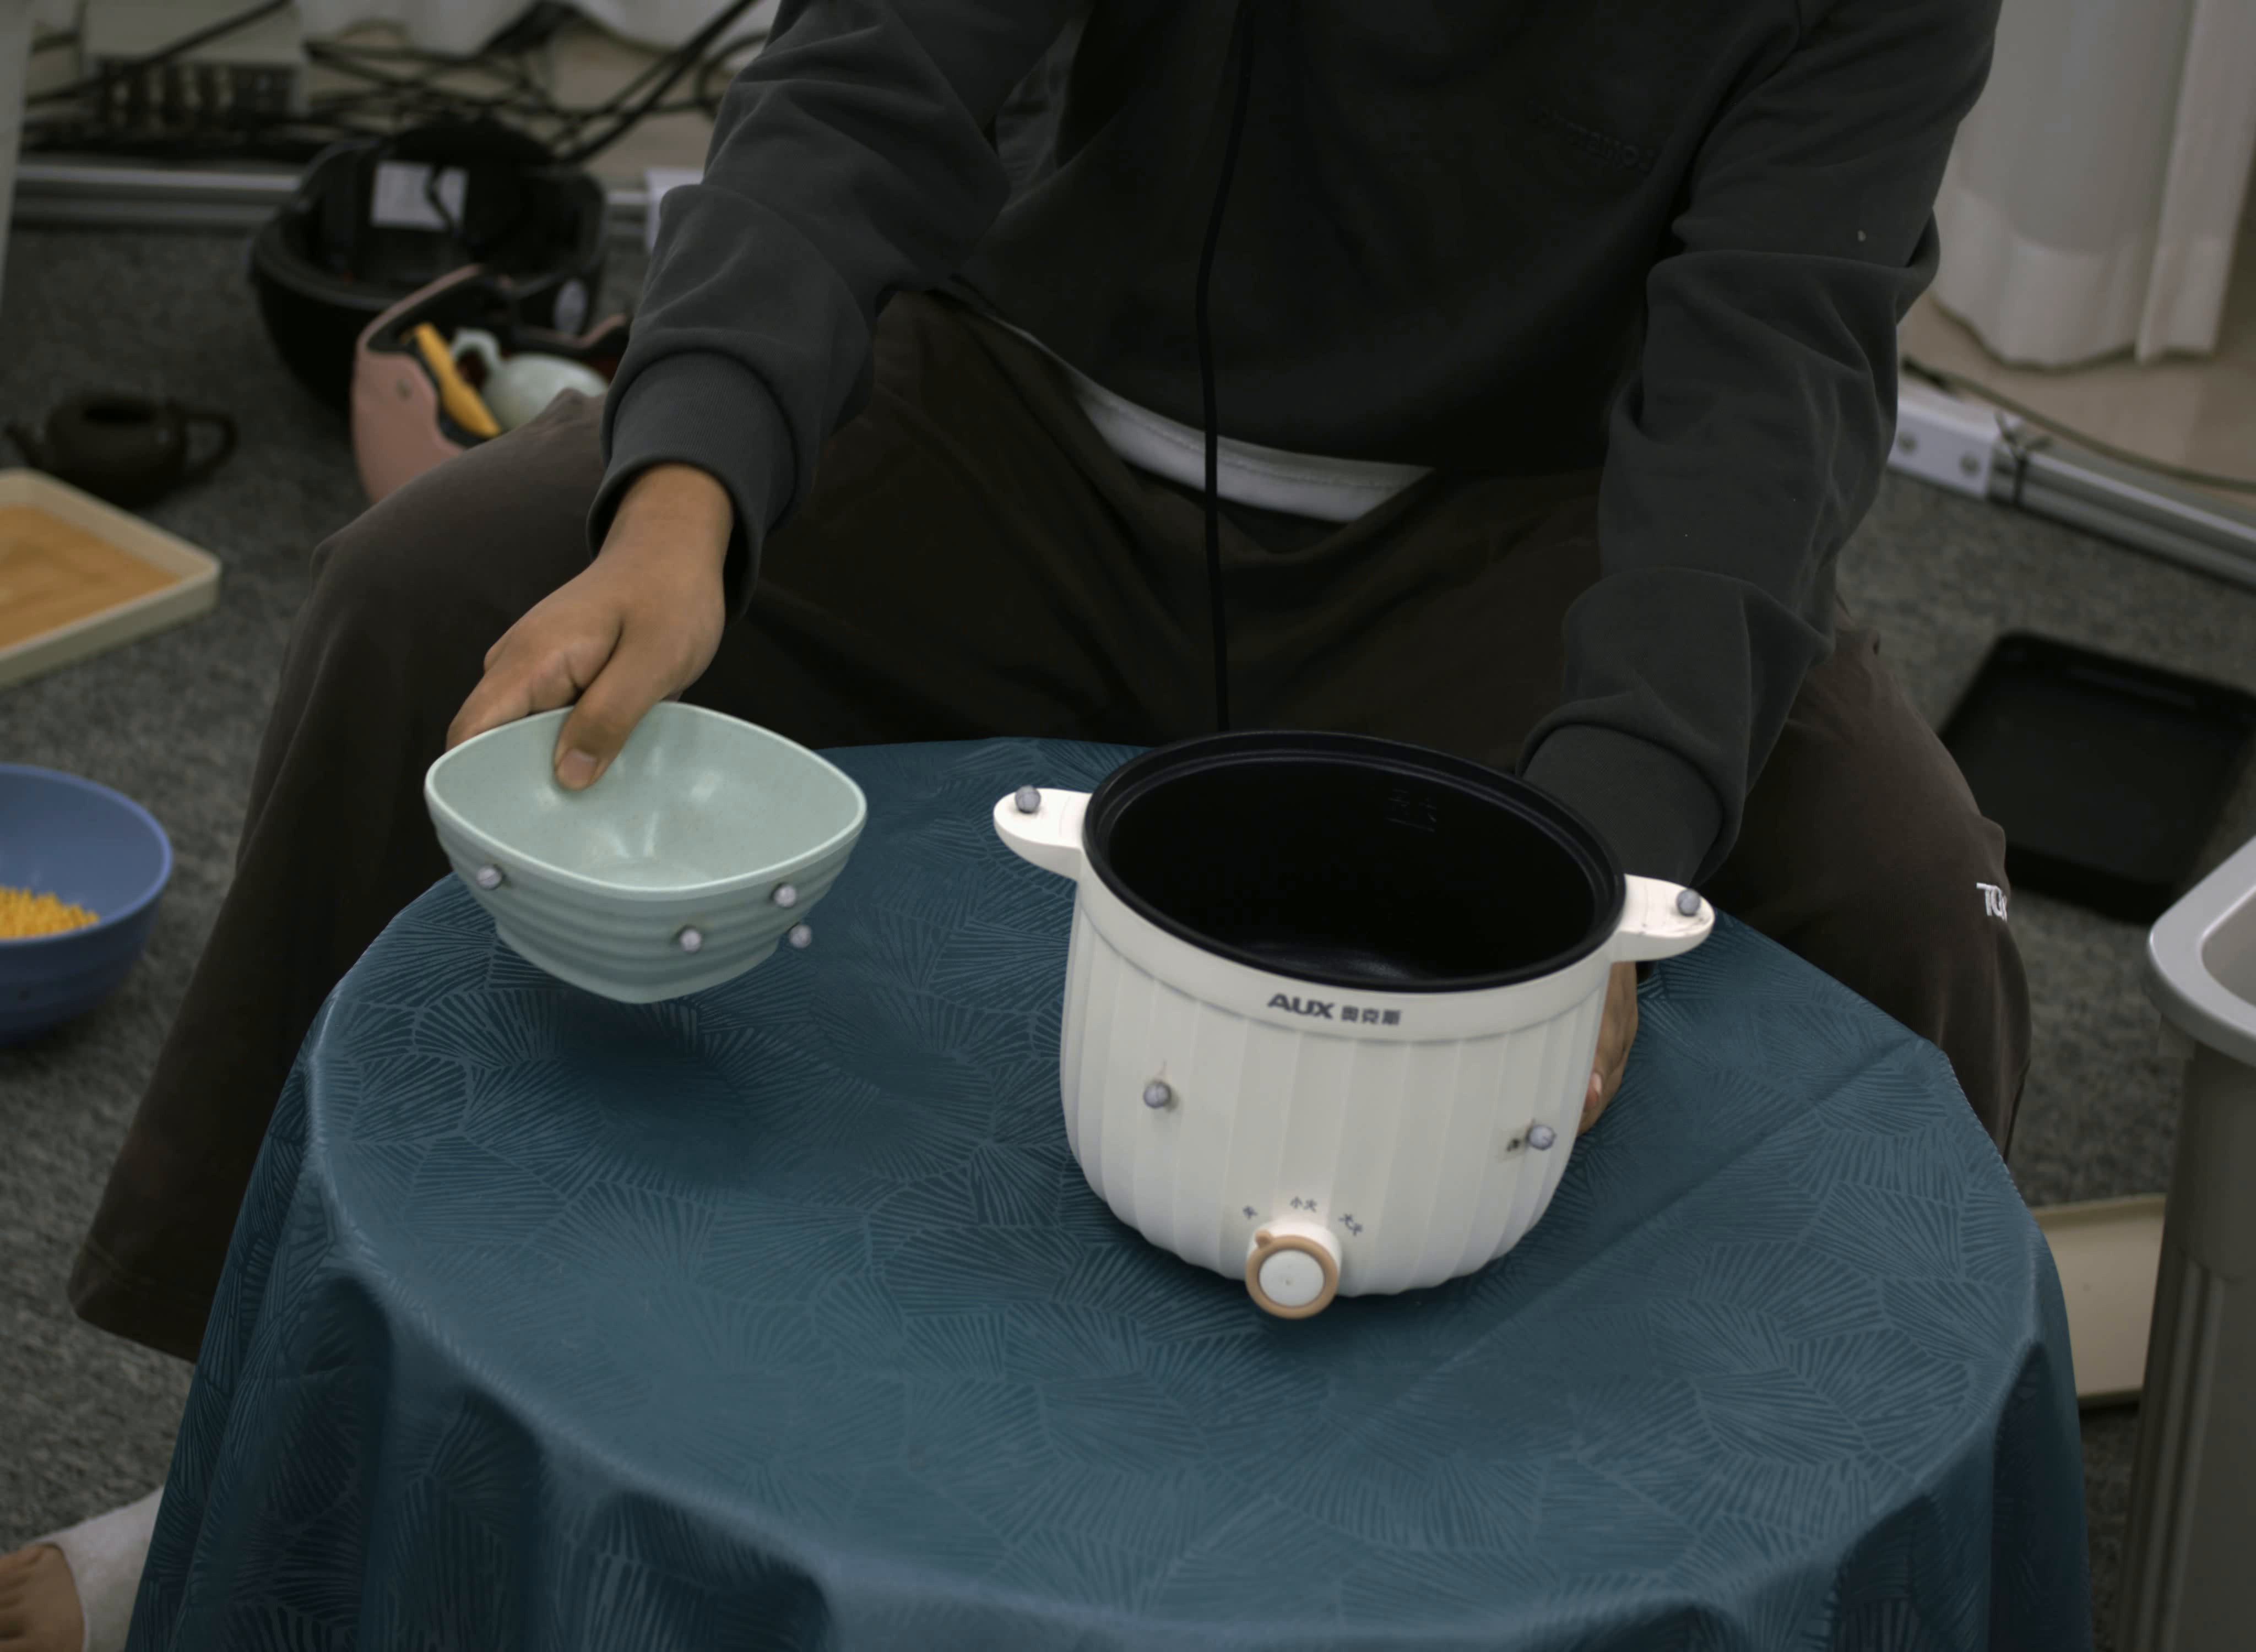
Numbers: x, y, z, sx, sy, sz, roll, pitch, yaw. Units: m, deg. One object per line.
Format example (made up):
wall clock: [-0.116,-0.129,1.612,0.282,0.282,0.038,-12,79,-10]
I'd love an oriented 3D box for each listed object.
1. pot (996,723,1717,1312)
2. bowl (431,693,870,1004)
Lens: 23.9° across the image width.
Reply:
pot: [0.070,0.067,1.779,0.240,0.142,0.191,6,23,2]
bowl: [-0.167,0.013,1.840,0.151,0.058,0.152,6,26,-3]
